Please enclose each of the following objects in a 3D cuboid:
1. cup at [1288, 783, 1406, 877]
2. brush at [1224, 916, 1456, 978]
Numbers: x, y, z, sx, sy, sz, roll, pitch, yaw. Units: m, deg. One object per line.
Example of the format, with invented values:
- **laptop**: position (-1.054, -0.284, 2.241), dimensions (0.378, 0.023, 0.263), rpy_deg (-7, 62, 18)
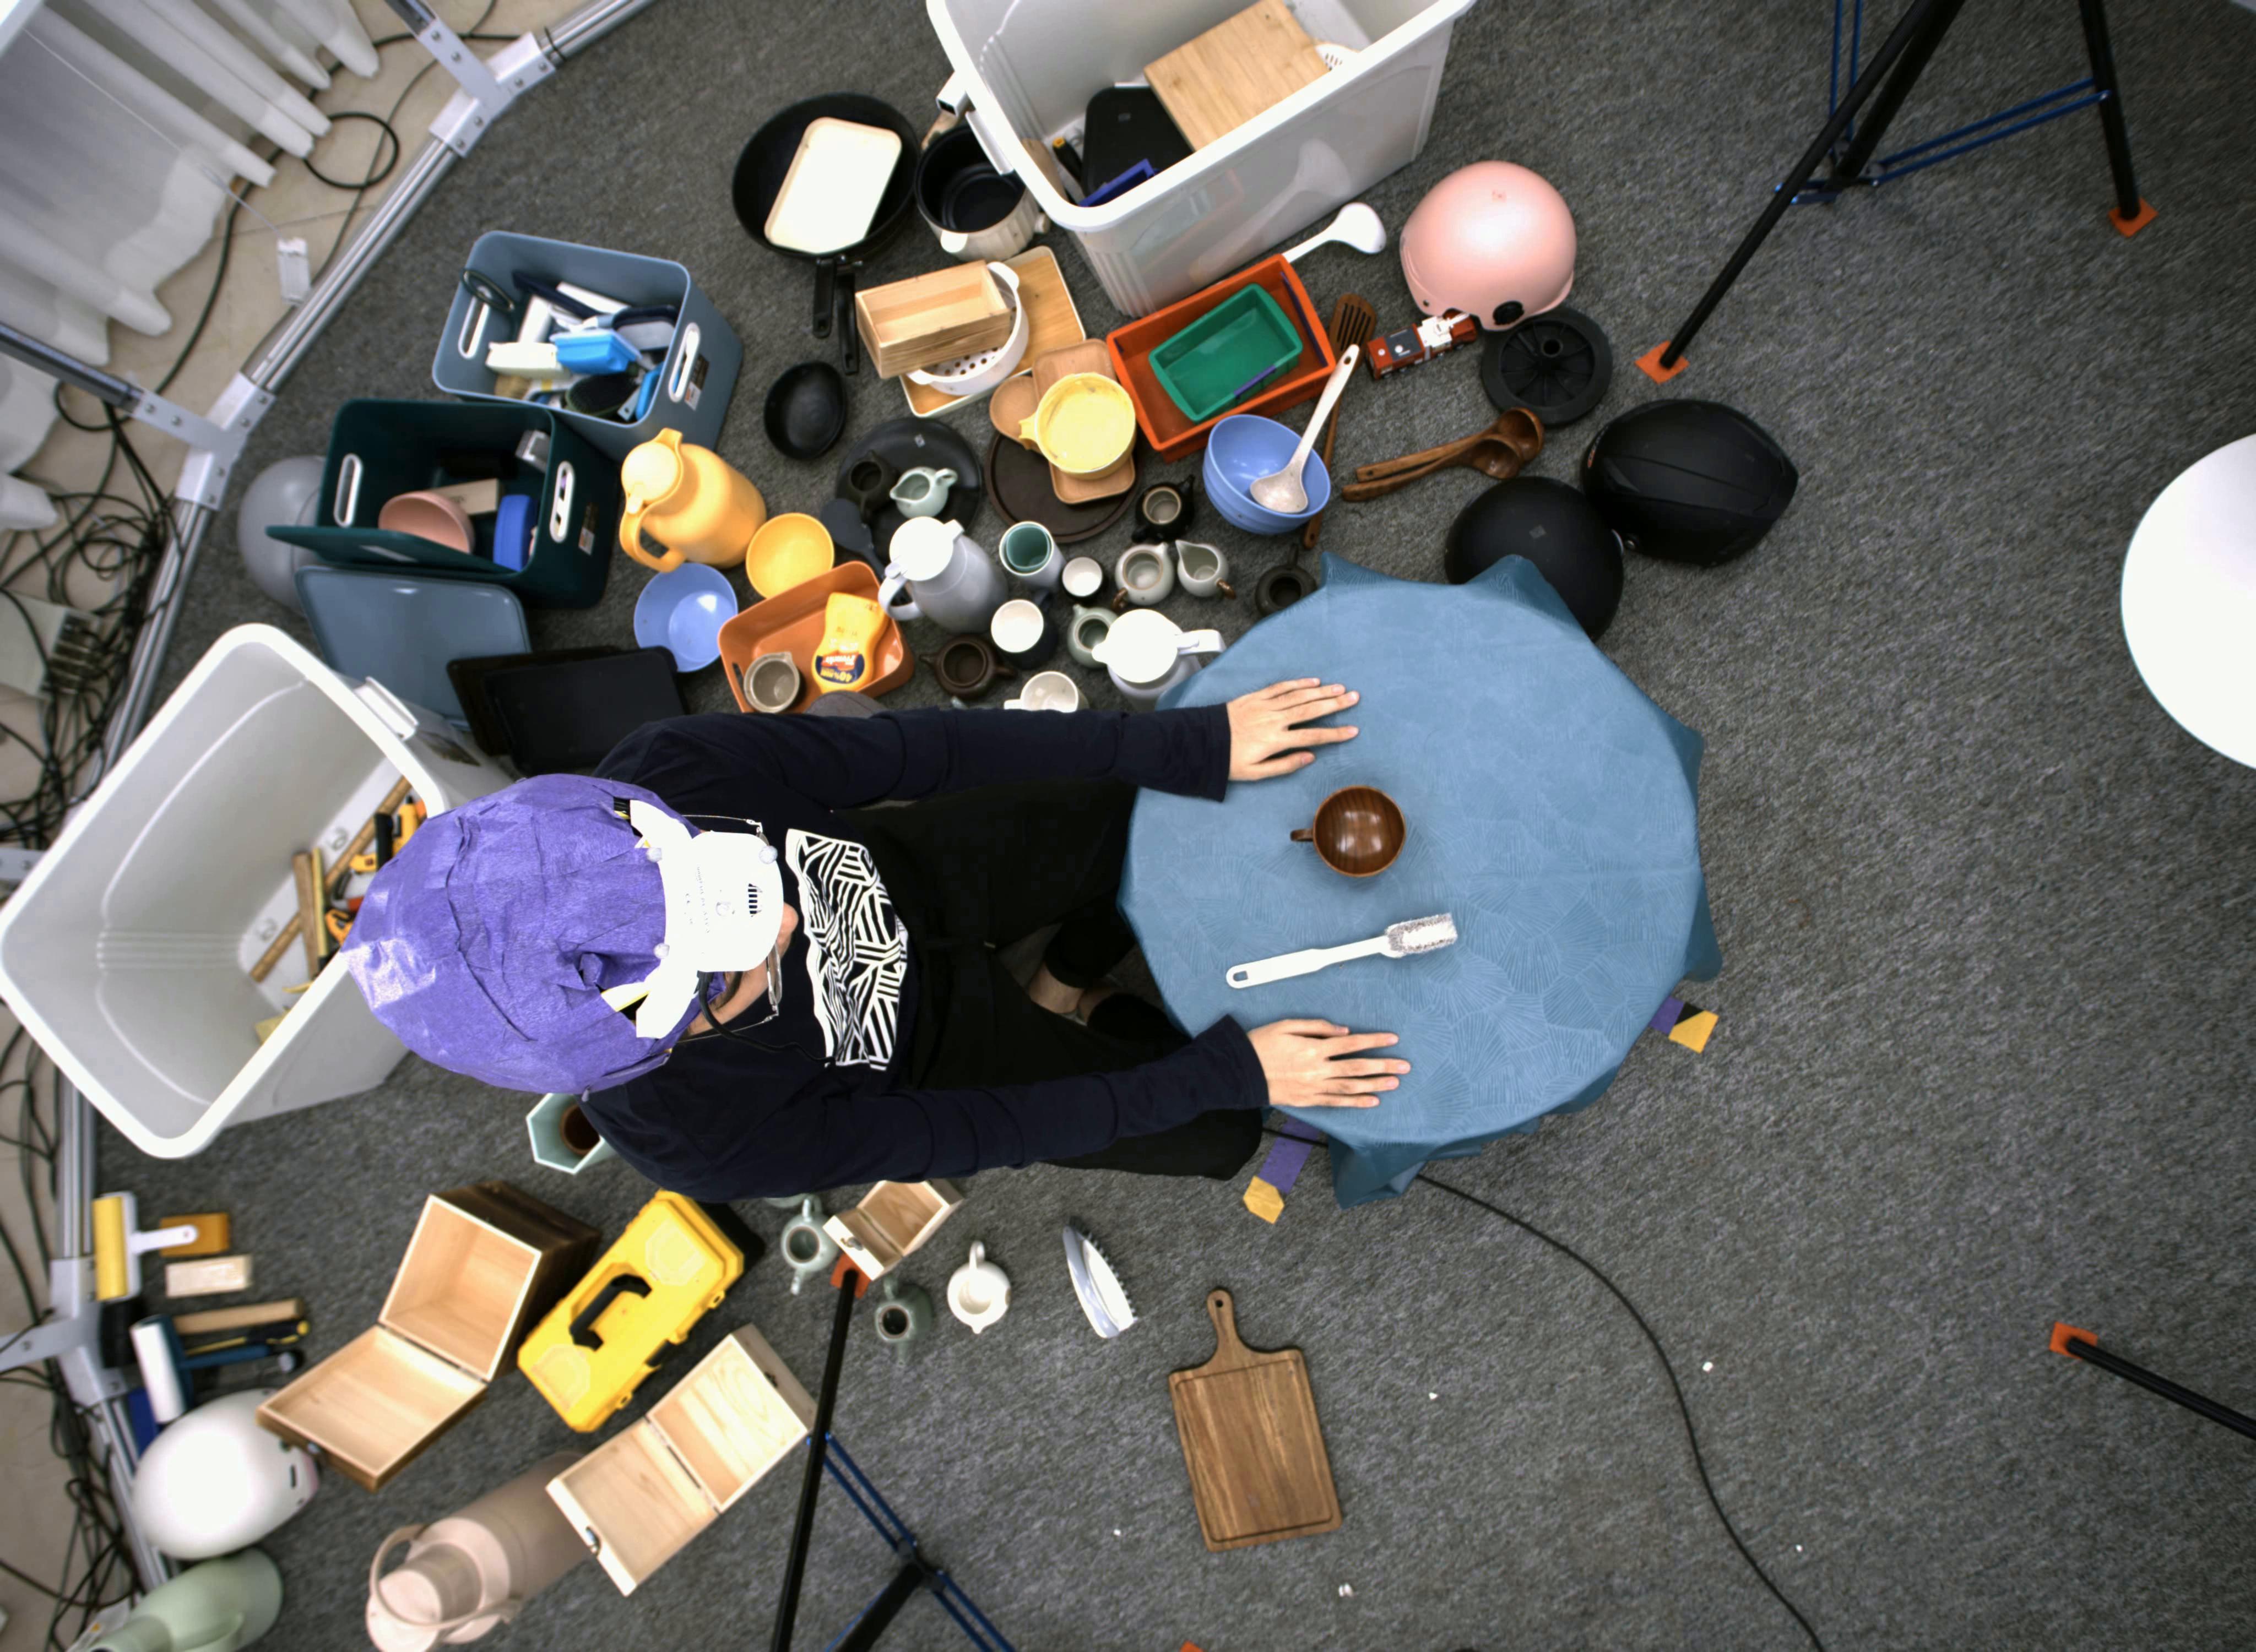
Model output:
- **cup**: position (0.226, 0.005, 1.434), dimensions (0.120, 0.068, 0.096), rpy_deg (-4, 88, 7)
- **brush**: position (0.218, 0.128, 1.442), dimensions (0.245, 0.050, 0.034), rpy_deg (-11, 89, 10)
